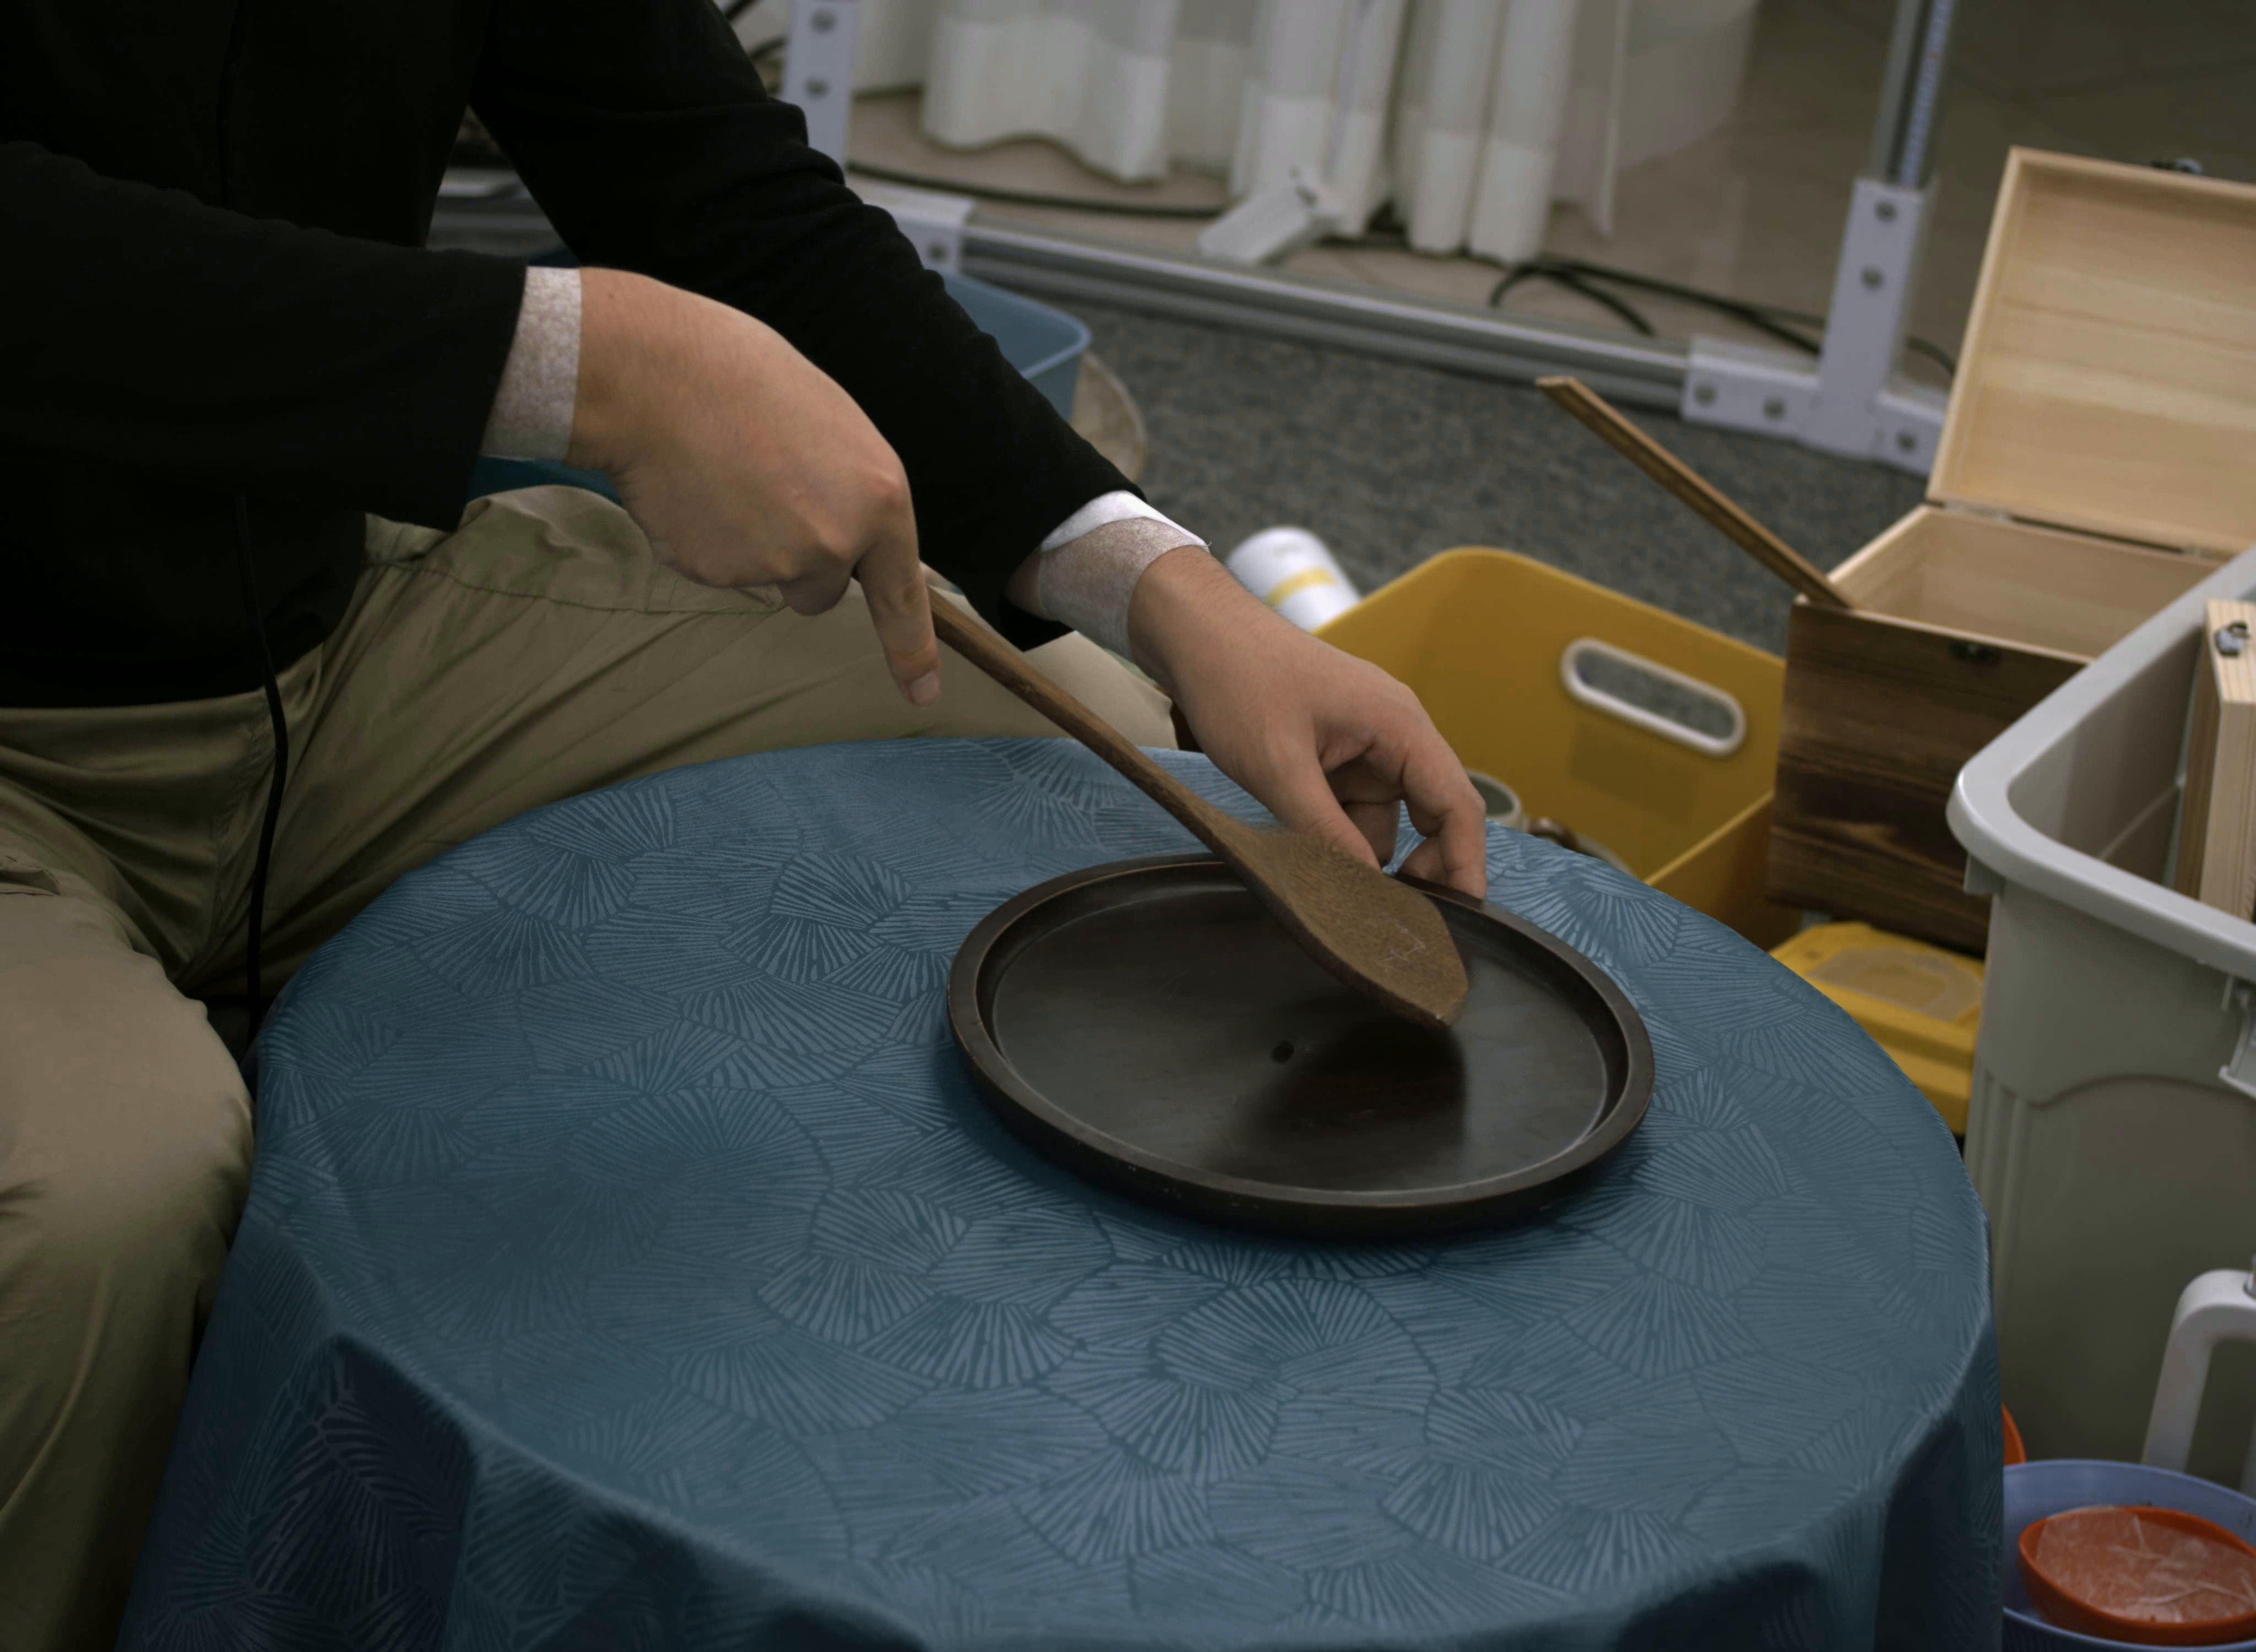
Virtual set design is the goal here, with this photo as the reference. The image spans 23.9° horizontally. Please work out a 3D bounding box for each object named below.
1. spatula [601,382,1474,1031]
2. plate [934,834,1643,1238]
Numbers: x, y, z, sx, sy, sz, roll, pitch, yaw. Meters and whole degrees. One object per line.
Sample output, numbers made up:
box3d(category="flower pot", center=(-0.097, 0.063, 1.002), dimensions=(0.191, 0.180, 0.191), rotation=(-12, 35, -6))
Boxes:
box3d(category="spatula", center=(-0.026, -0.044, 1.831), dimensions=(0.383, 0.016, 0.097), rotation=(36, 21, -21))
box3d(category="plate", center=(0.056, 0.075, 1.884), dimensions=(0.254, 0.029, 0.256), rotation=(4, 28, -2))
